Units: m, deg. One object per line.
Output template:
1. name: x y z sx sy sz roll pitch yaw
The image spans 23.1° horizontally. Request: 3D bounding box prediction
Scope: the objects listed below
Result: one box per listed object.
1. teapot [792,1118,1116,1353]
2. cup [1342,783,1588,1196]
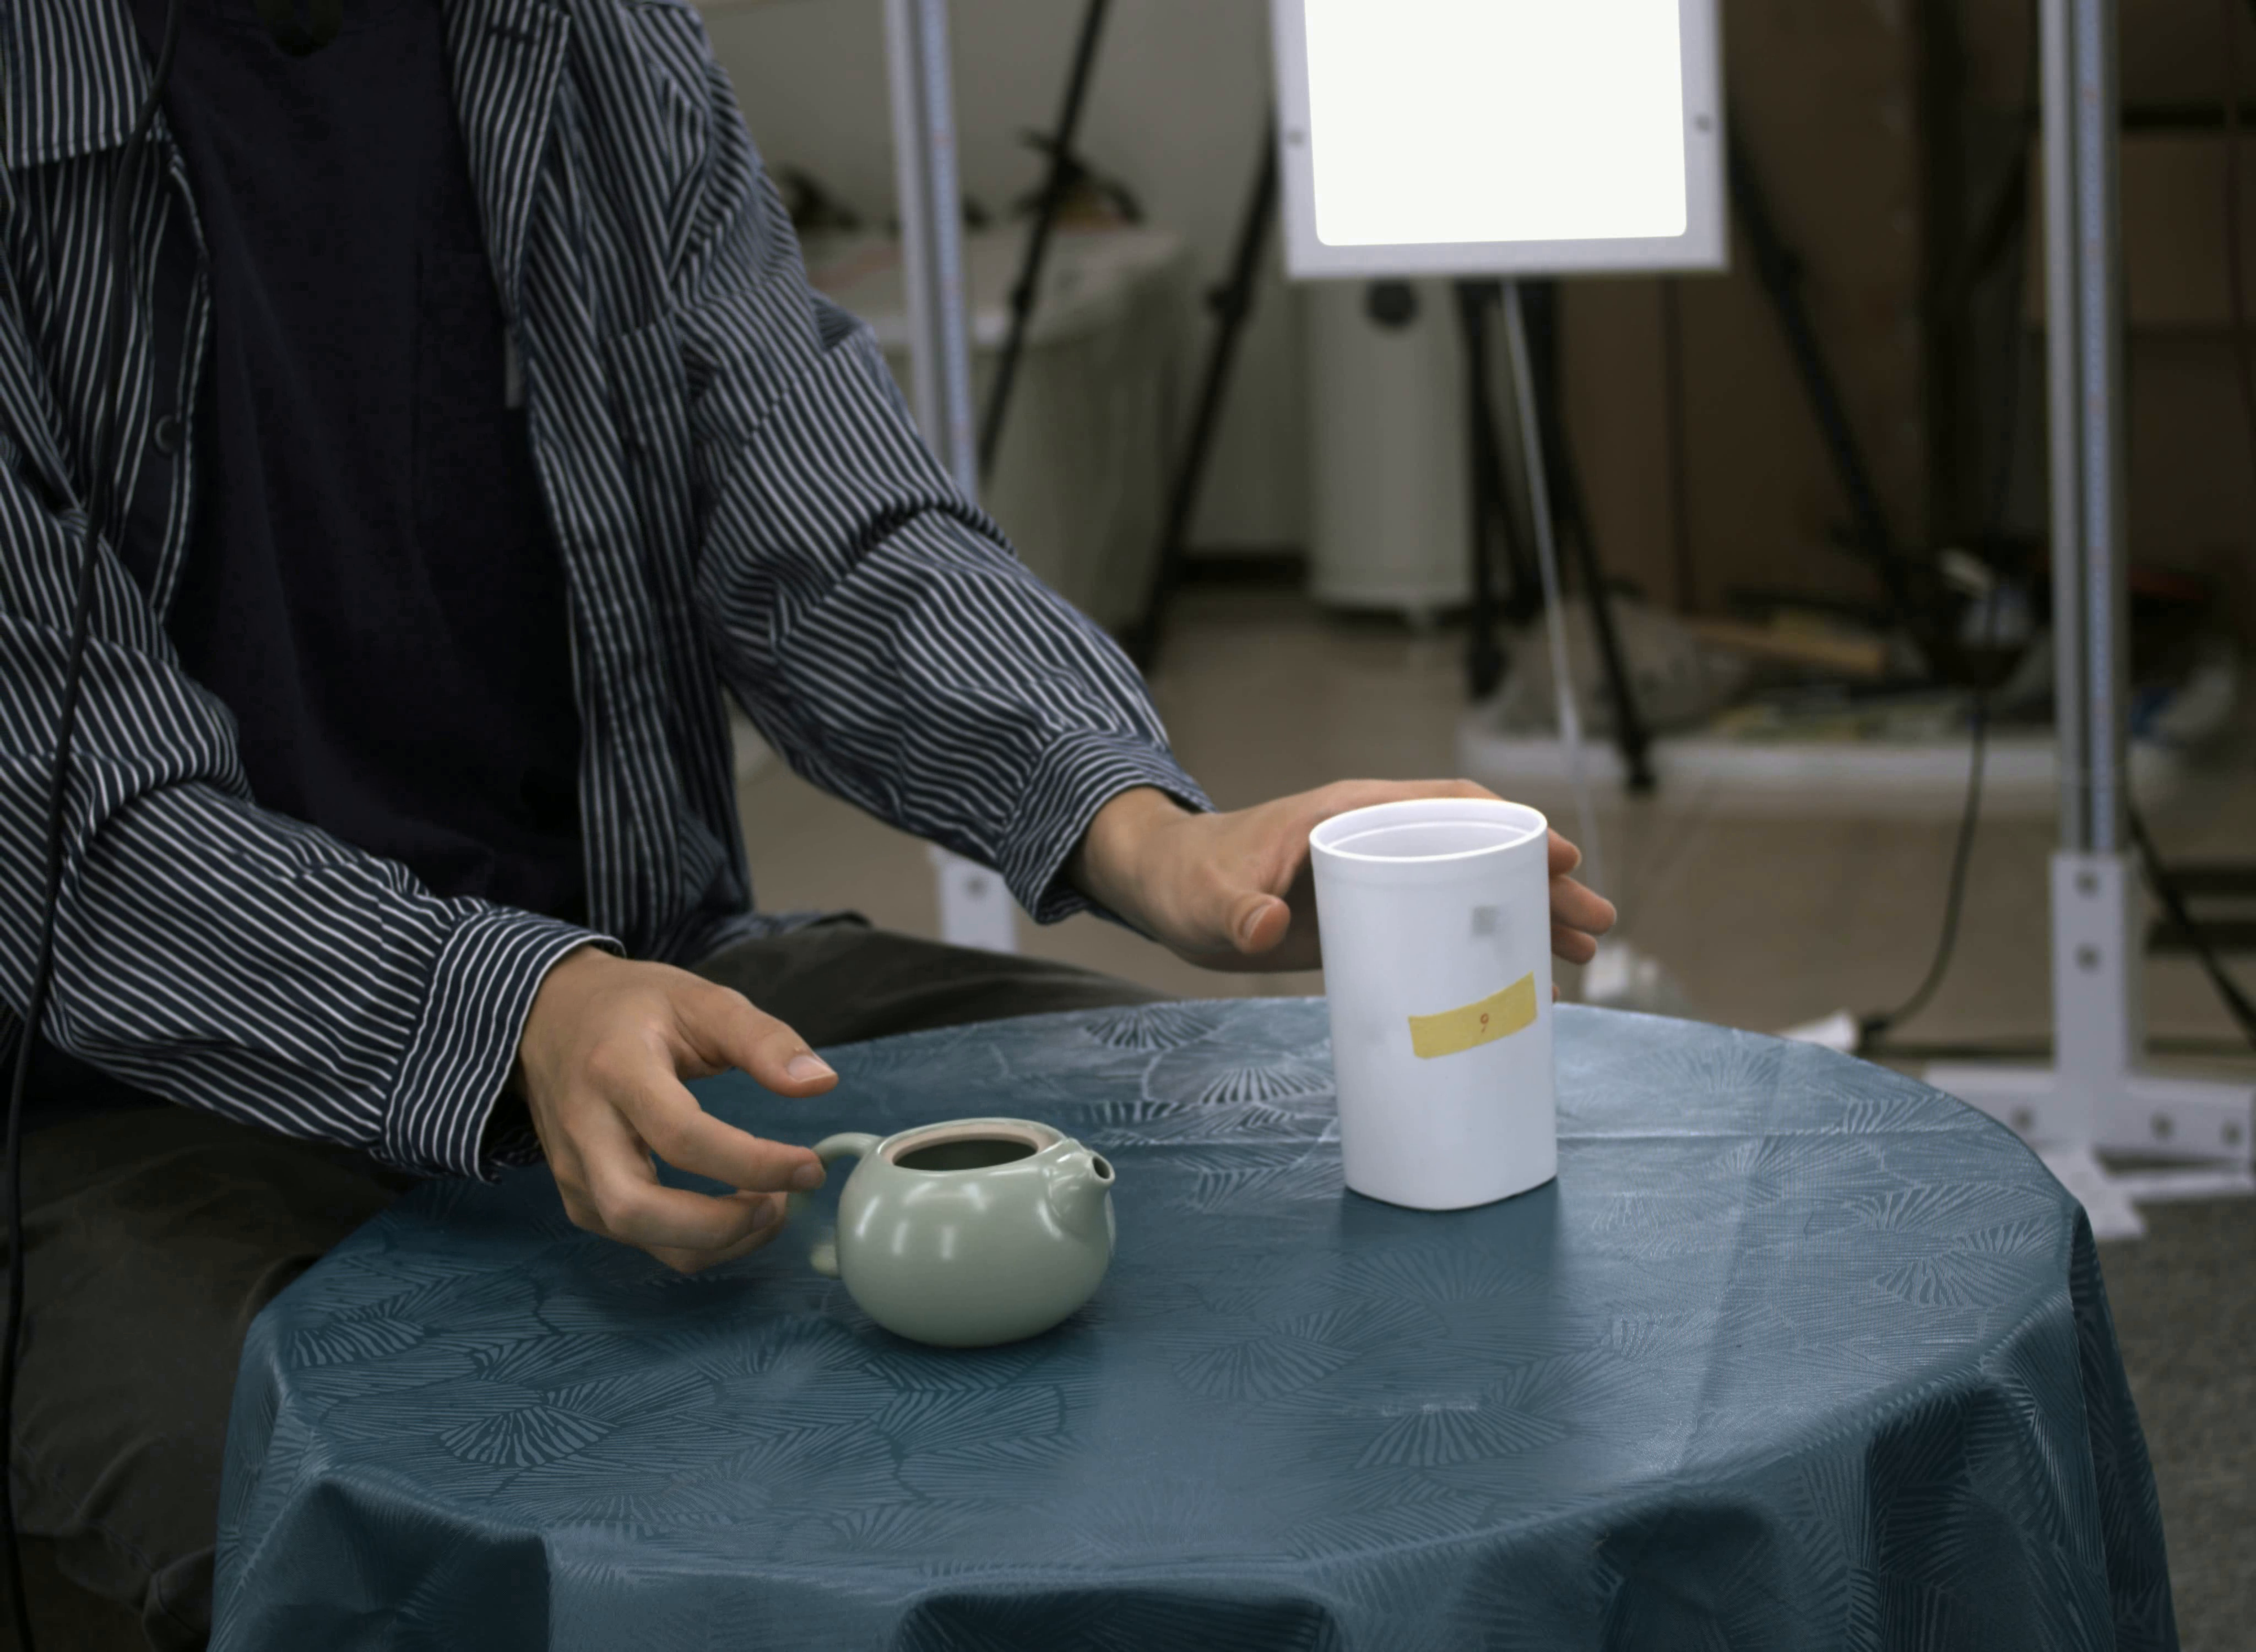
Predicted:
1. teapot: -0.057 0.131 1.773 0.131 0.061 0.089 5 19 37
2. cup: 0.117 0.055 1.865 0.081 0.126 0.081 -5 14 0
